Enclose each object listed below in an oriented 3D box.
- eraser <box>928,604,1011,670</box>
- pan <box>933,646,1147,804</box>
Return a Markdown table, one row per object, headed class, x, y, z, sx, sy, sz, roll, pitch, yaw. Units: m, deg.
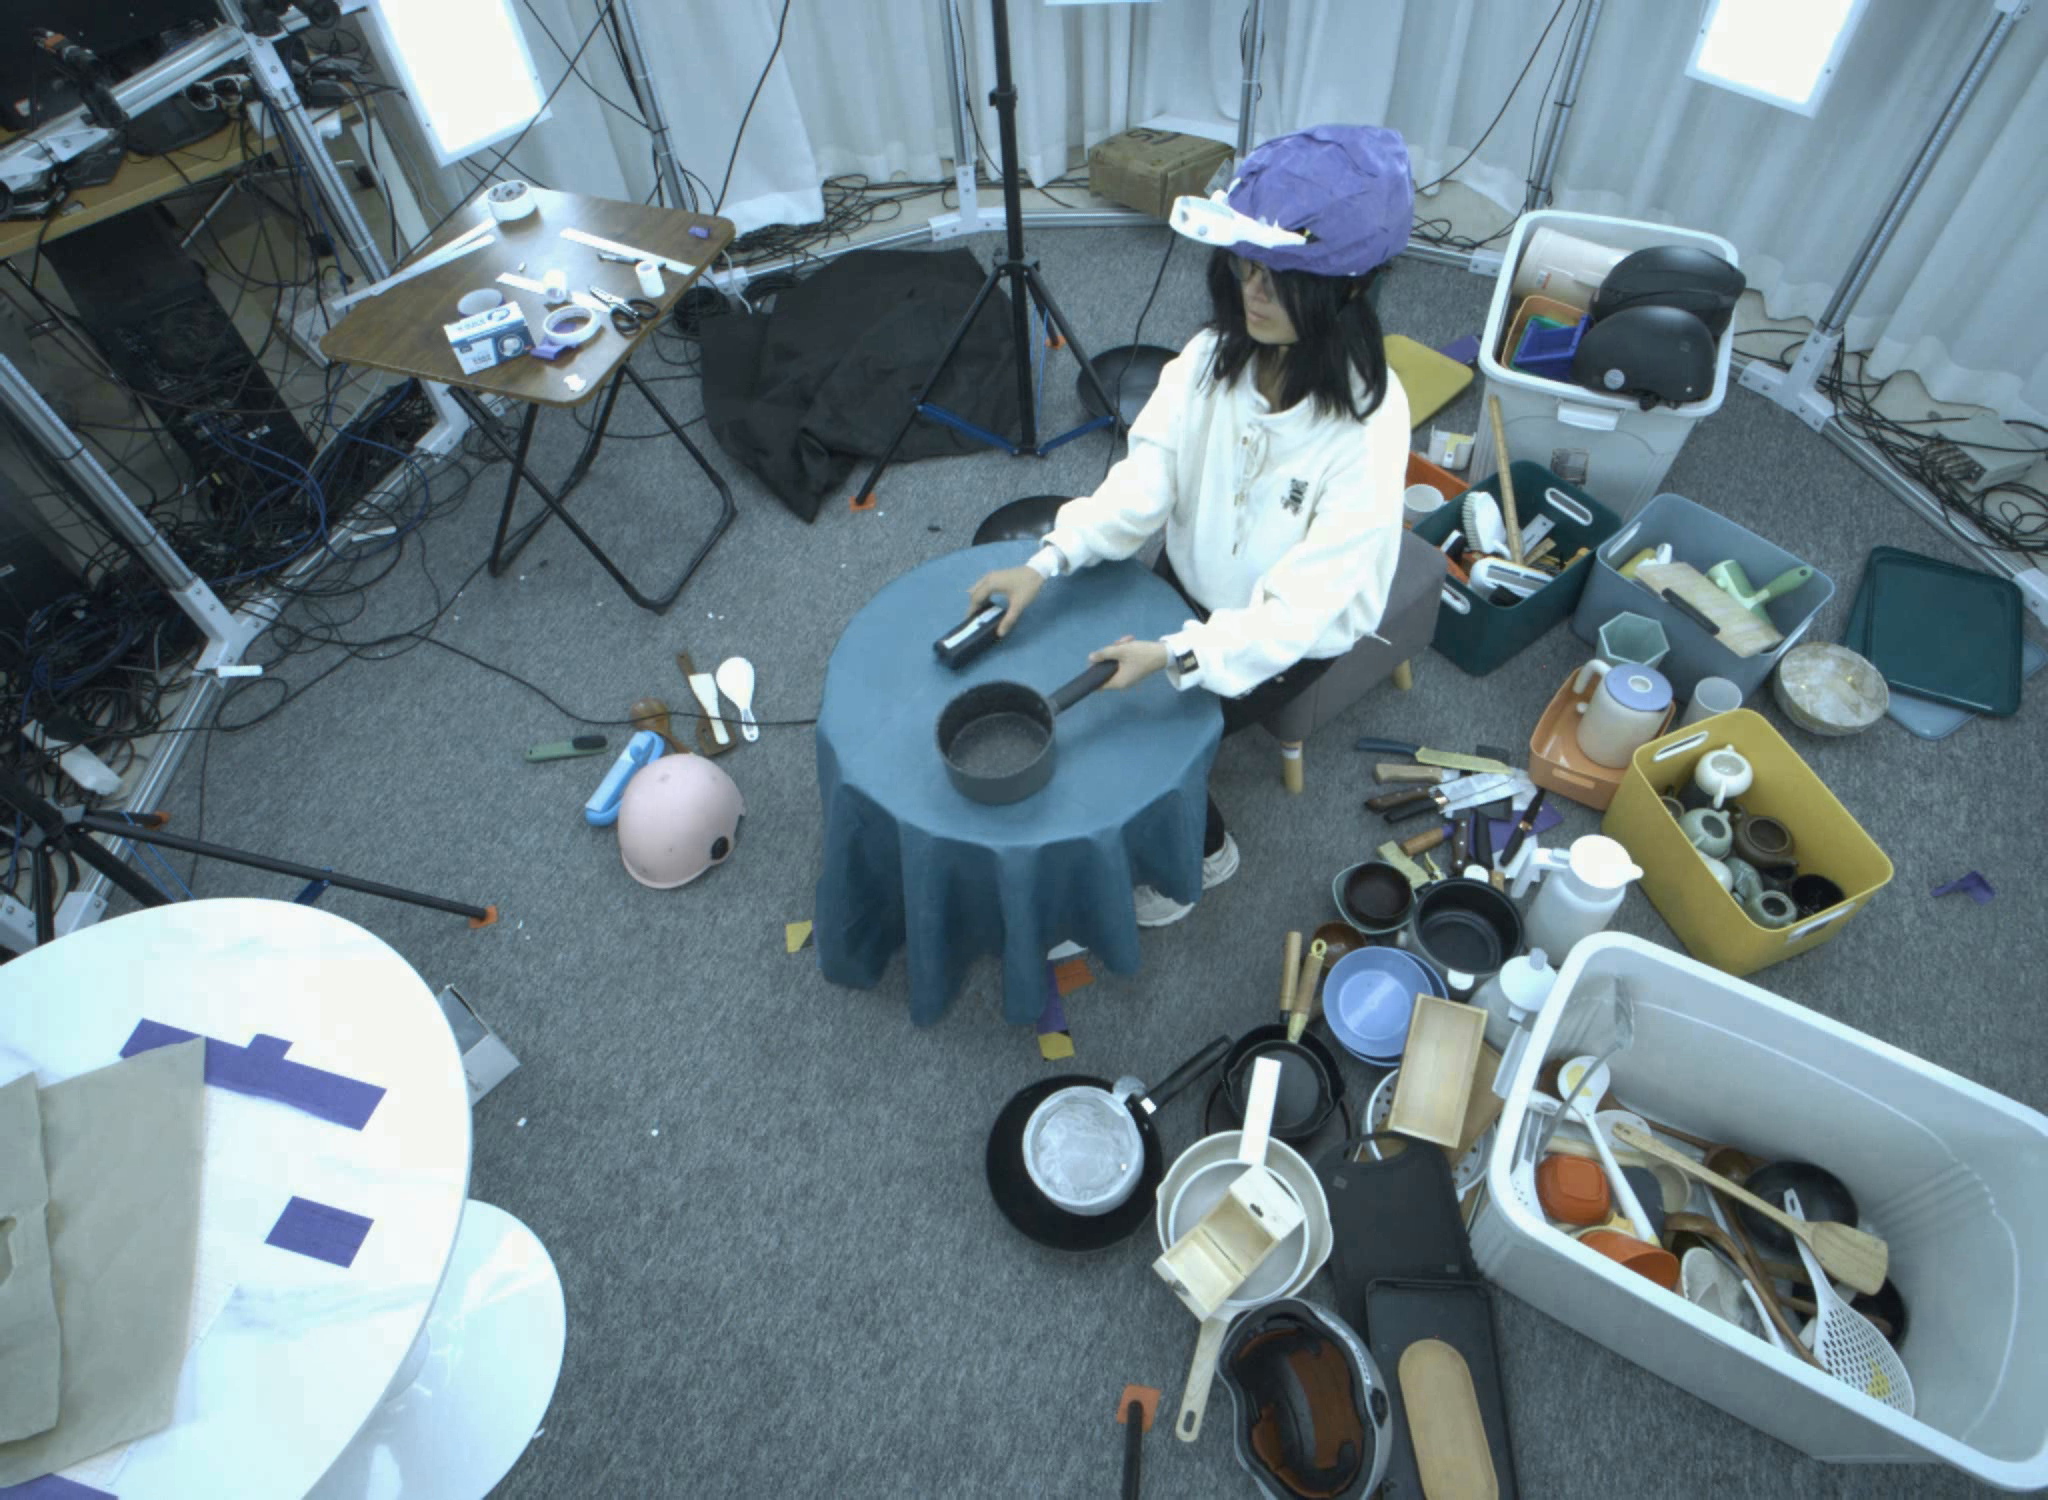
| class | x | y | z | sx | sy | sz | roll | pitch | yaw |
| --- | --- | --- | --- | --- | --- | --- | --- | --- | --- |
| eraser | -0.083 | -0.175 | 1.890 | 0.126 | 0.031 | 0.052 | -37 | 54 | -21 |
| pan | 0.030 | -0.046 | 1.760 | 0.330 | 0.087 | 0.169 | -27 | 58 | -11 |
